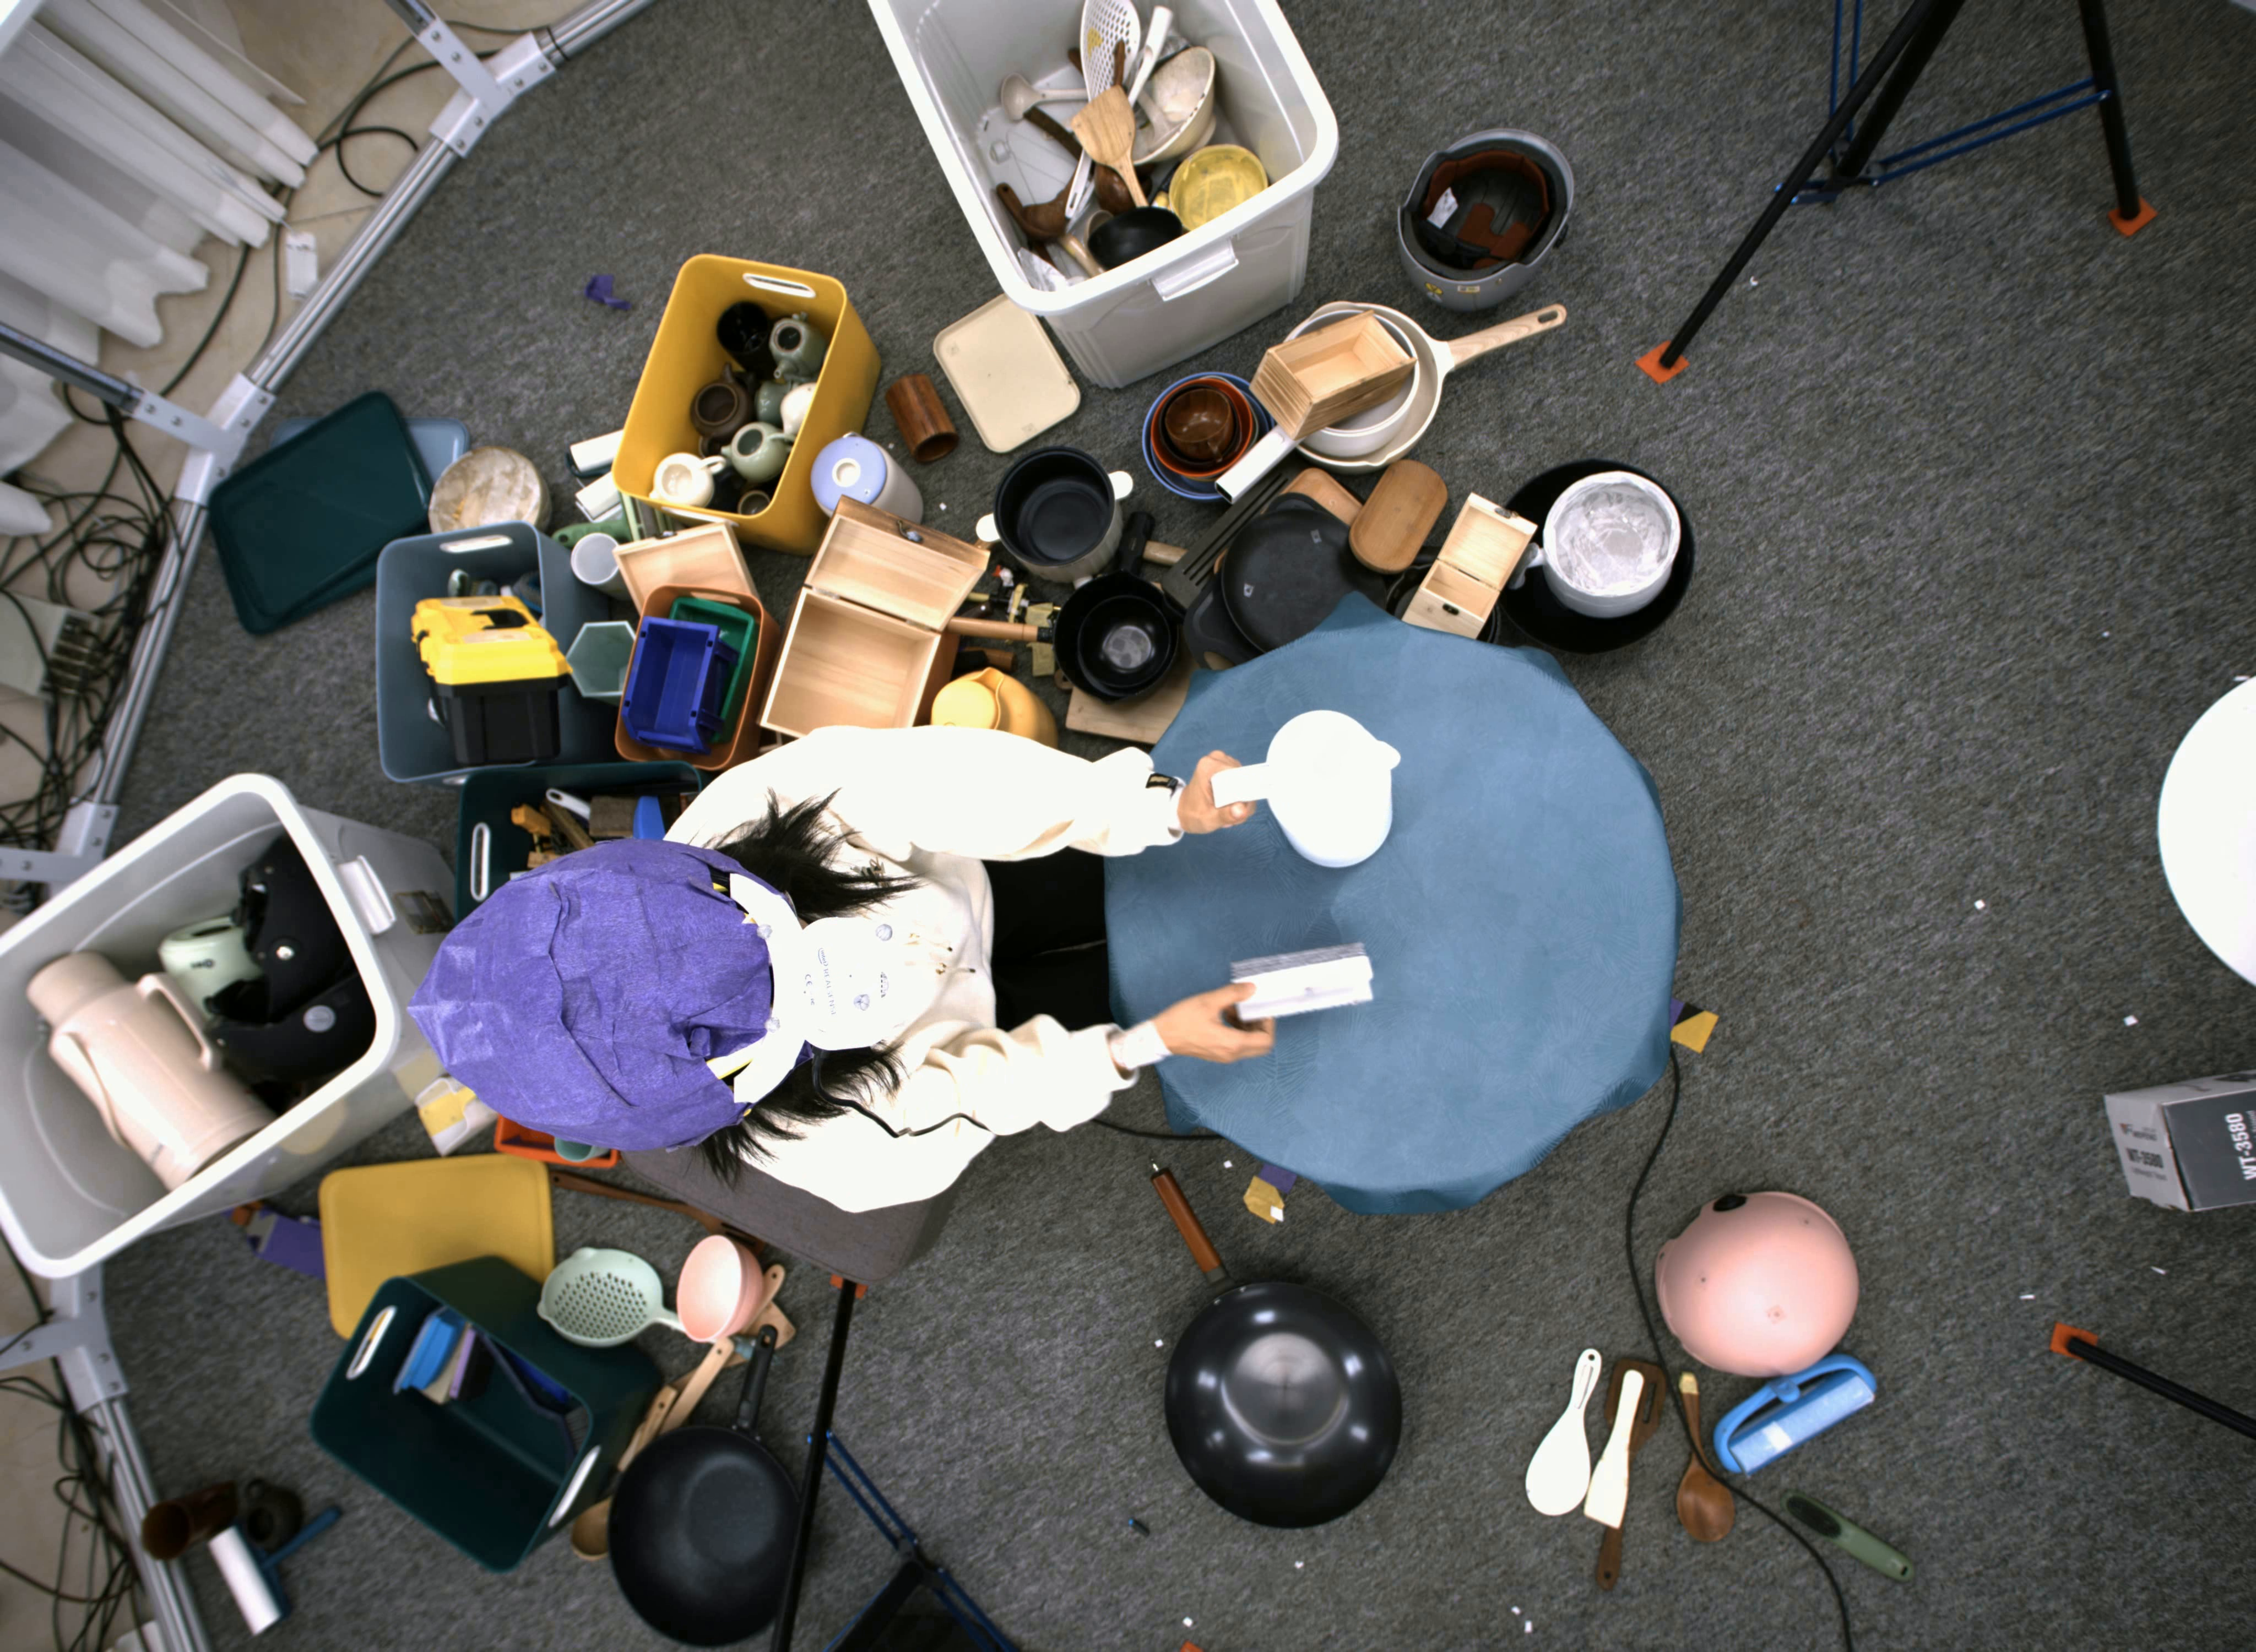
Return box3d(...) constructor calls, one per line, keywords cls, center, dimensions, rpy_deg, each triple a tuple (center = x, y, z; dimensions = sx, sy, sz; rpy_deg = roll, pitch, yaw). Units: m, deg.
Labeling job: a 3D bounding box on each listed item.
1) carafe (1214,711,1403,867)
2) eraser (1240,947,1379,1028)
box3d(cls="carafe", center=(0.179, -0.030, 1.341), dimensions=(0.173, 0.269, 0.123), rpy_deg=(-9, 82, 9))
box3d(cls="eraser", center=(0.181, 0.161, 1.392), dimensions=(0.134, 0.051, 0.045), rpy_deg=(-12, 52, 4))
